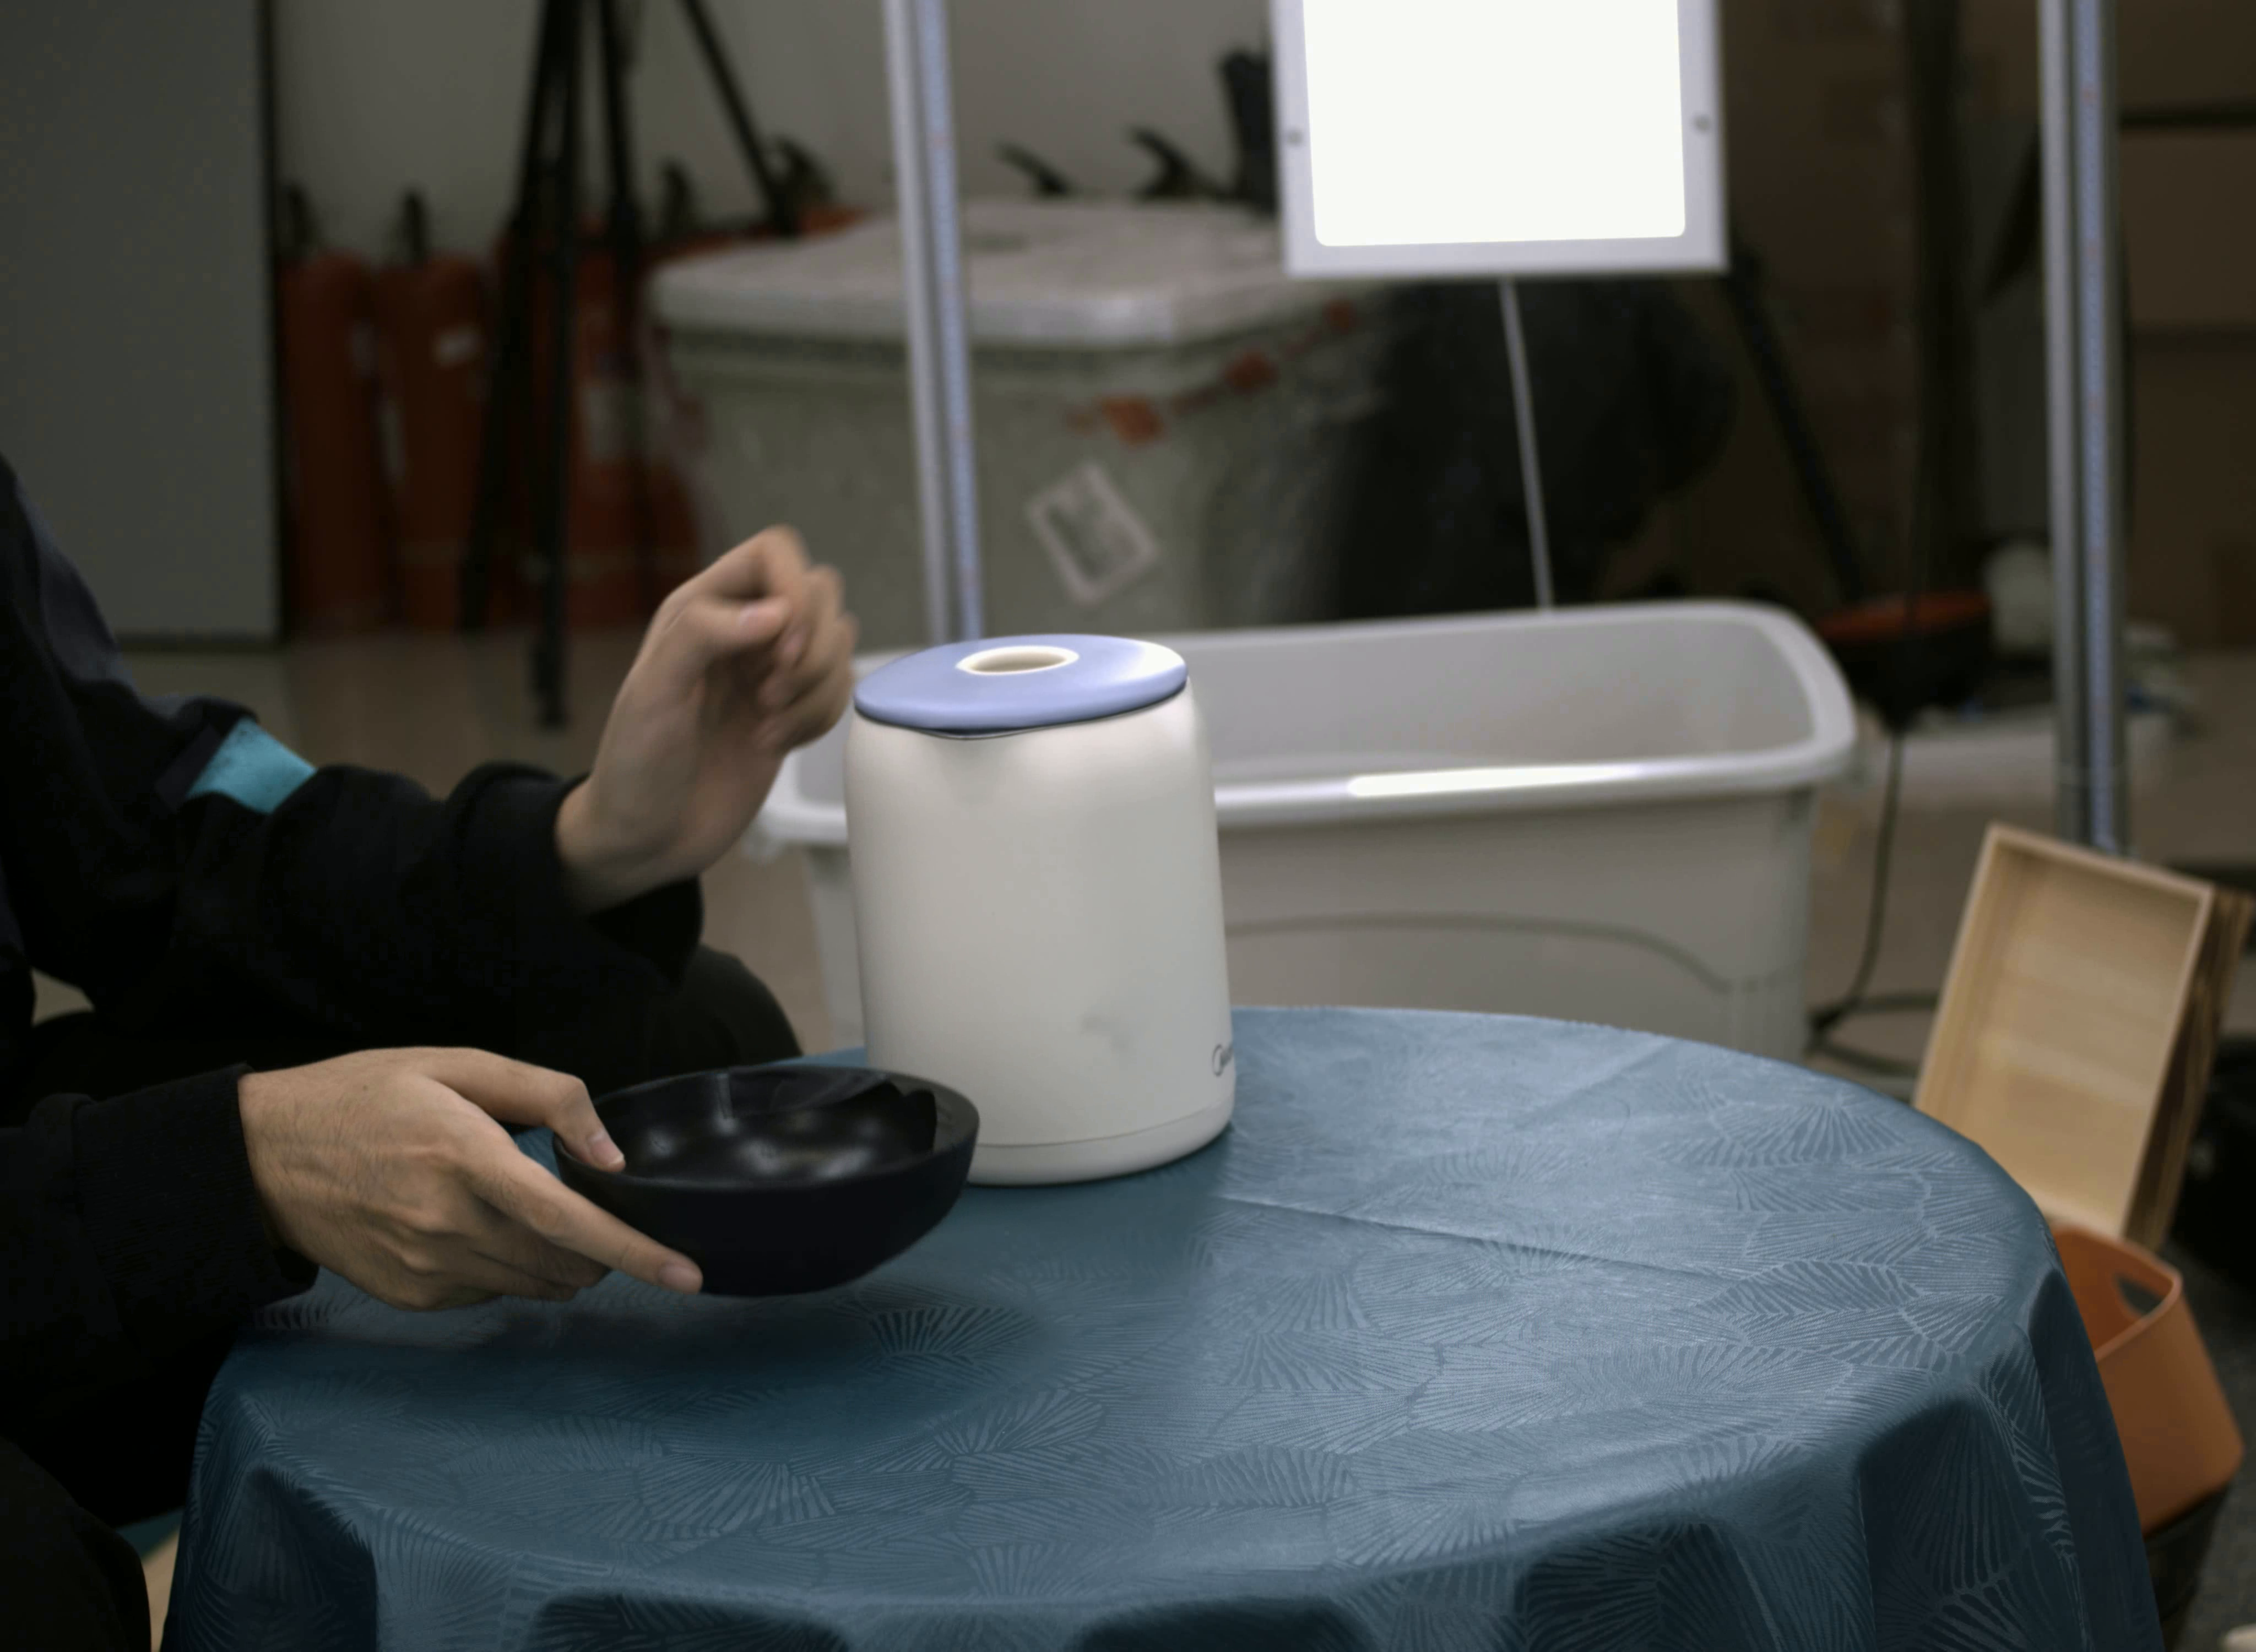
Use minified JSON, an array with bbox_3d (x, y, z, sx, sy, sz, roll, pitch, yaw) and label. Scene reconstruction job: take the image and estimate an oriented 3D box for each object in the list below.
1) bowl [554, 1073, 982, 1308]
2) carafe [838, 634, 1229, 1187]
[{"bbox_3d":[-0.115,0.122,1.784,0.139,0.050,0.140,-4,13,-1],"label":"bowl"},{"bbox_3d":[-0.027,0.023,1.967,0.133,0.183,0.188,0,12,15],"label":"carafe"}]
